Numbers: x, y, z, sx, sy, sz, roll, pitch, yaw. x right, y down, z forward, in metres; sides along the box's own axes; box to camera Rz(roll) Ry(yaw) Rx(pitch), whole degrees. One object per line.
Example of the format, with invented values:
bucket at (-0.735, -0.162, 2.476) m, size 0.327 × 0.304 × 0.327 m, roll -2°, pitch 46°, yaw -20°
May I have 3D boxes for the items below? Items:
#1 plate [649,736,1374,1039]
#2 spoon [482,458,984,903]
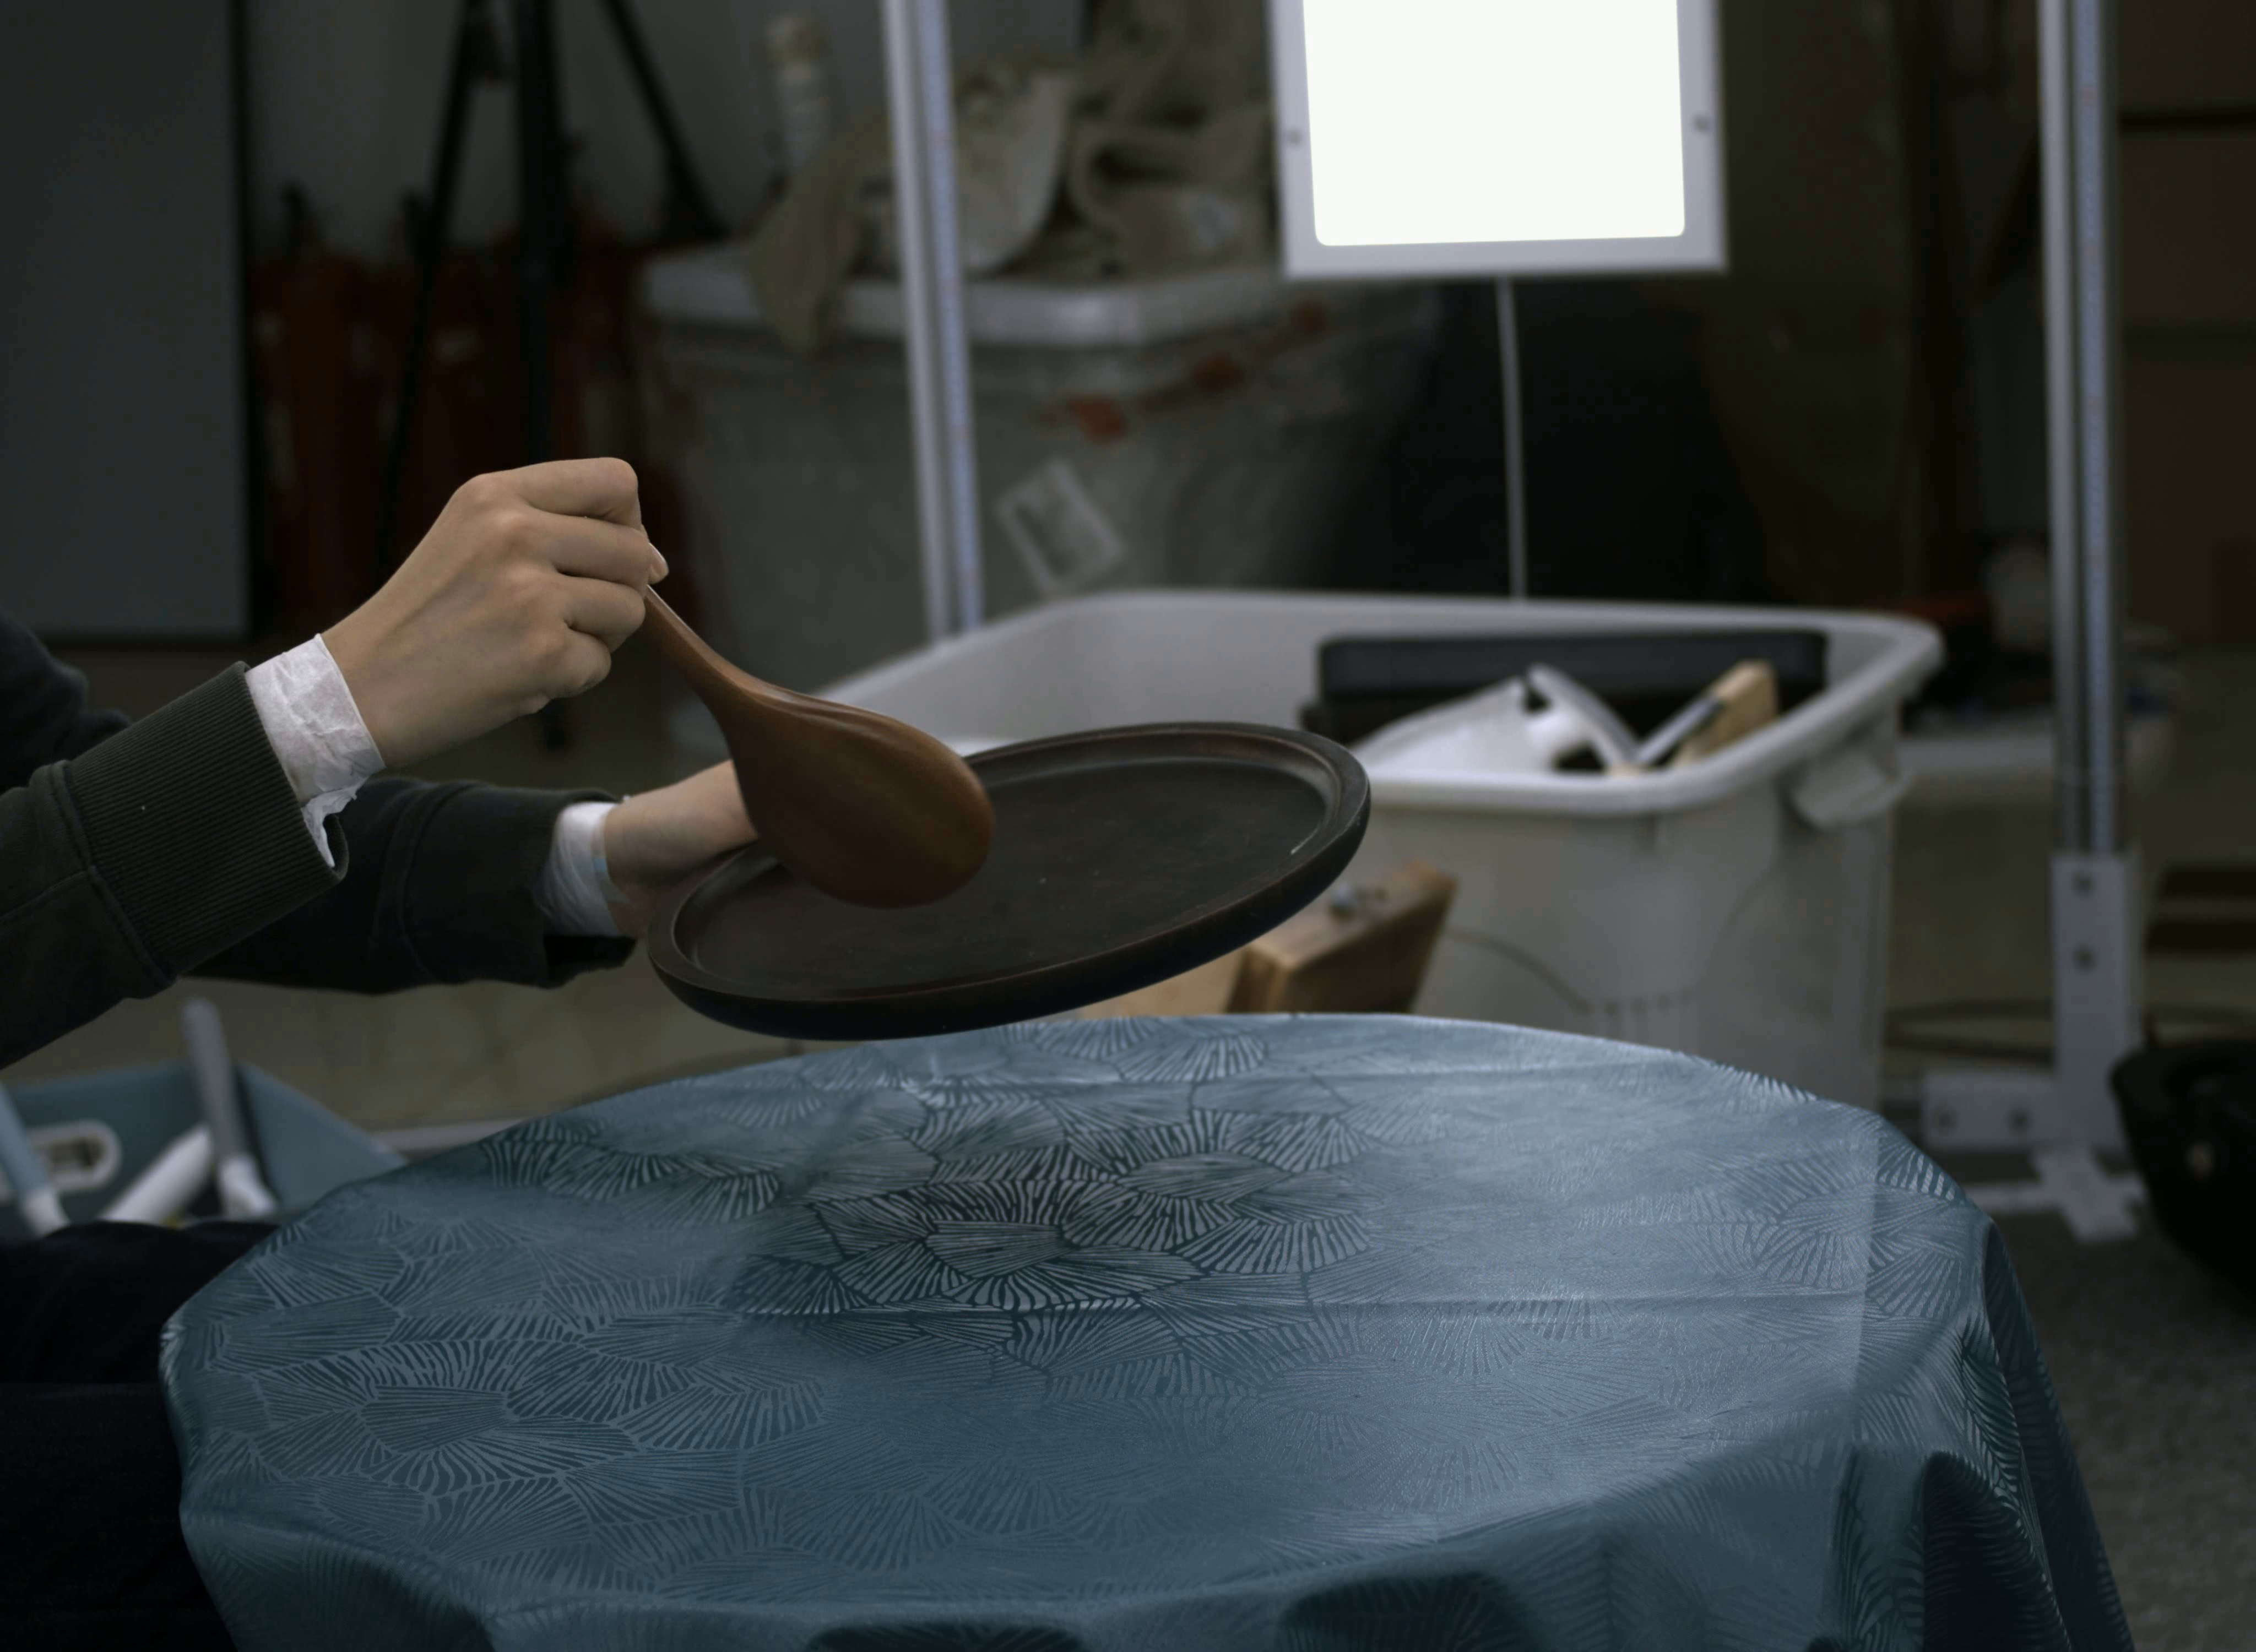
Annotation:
plate at (-0.039, 0.019, 1.873) m, size 0.254 × 0.029 × 0.254 m, roll -12°, pitch 17°, yaw 2°
spoon at (-0.127, -0.042, 1.748) m, size 0.077 × 0.213 × 0.017 m, roll -28°, pitch 33°, yaw 29°
